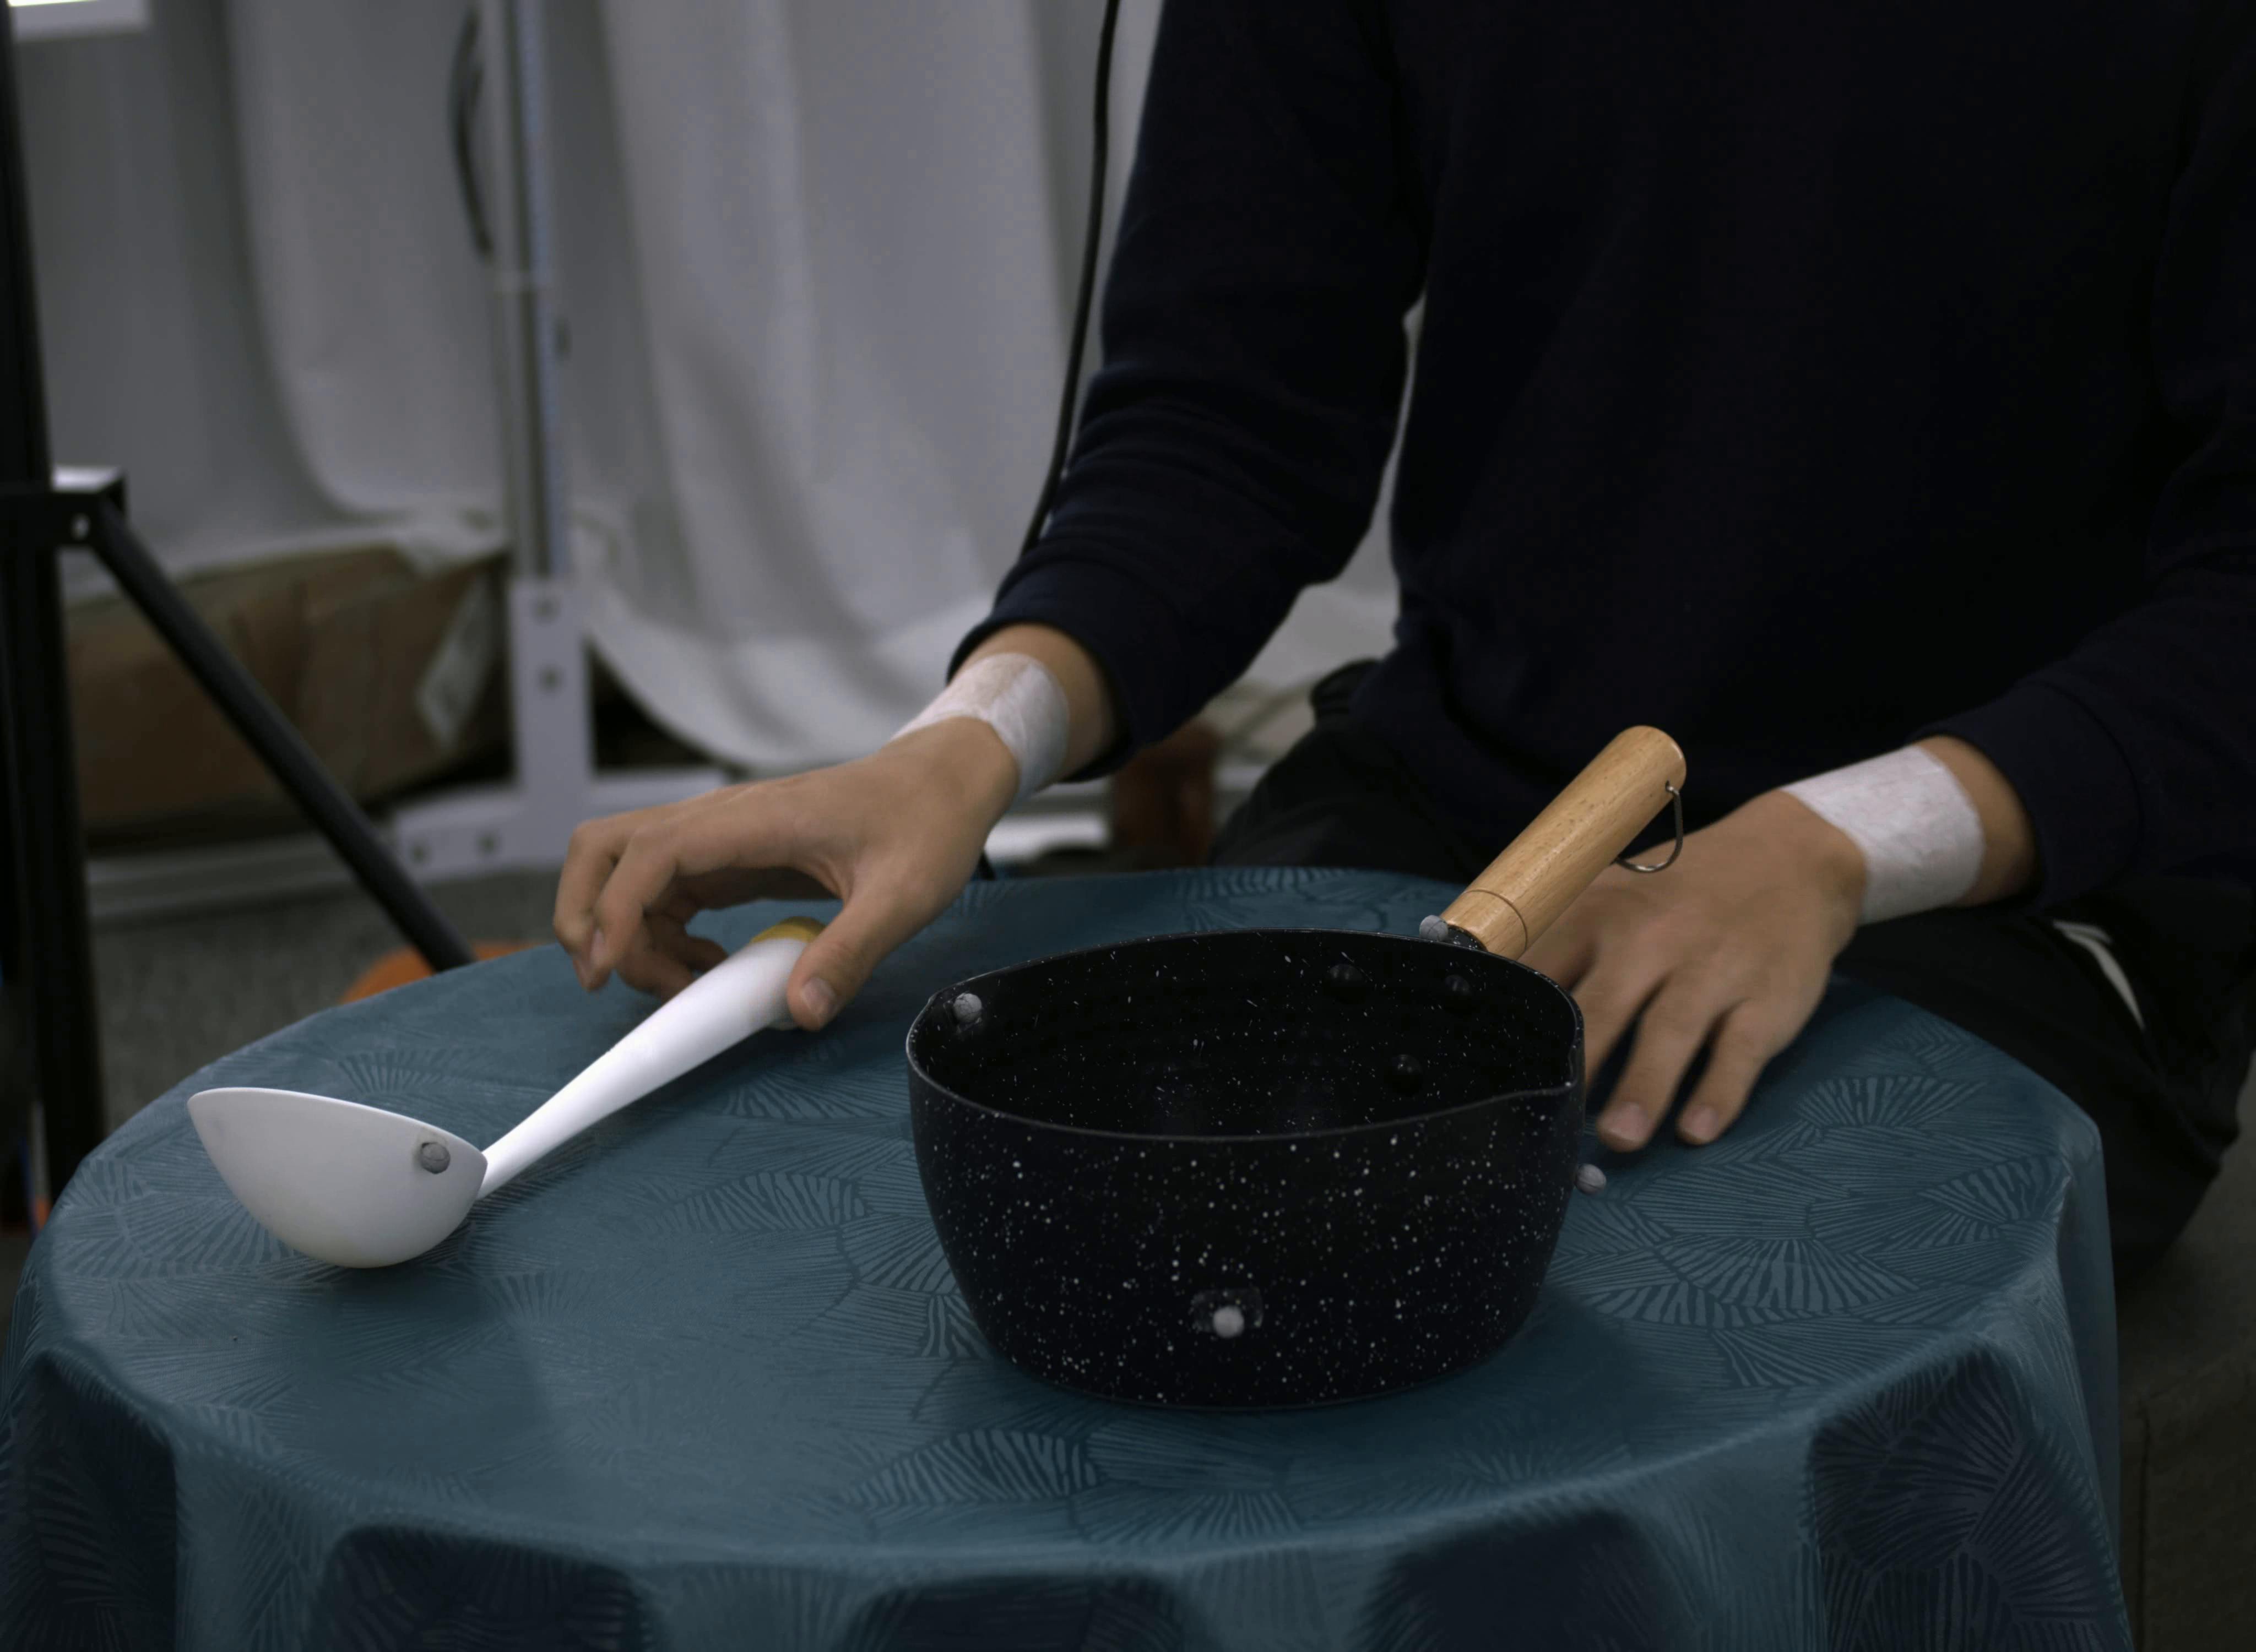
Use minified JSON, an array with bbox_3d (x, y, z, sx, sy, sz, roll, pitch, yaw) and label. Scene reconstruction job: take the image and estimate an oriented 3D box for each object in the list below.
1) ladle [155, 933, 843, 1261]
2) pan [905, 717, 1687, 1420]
[{"bbox_3d":[-0.178,0.067,1.617,0.091,0.070,0.288,-8,11,31],"label":"ladle"},{"bbox_3d":[0.073,0.063,1.505,0.211,0.108,0.336,6,19,31],"label":"pan"}]
